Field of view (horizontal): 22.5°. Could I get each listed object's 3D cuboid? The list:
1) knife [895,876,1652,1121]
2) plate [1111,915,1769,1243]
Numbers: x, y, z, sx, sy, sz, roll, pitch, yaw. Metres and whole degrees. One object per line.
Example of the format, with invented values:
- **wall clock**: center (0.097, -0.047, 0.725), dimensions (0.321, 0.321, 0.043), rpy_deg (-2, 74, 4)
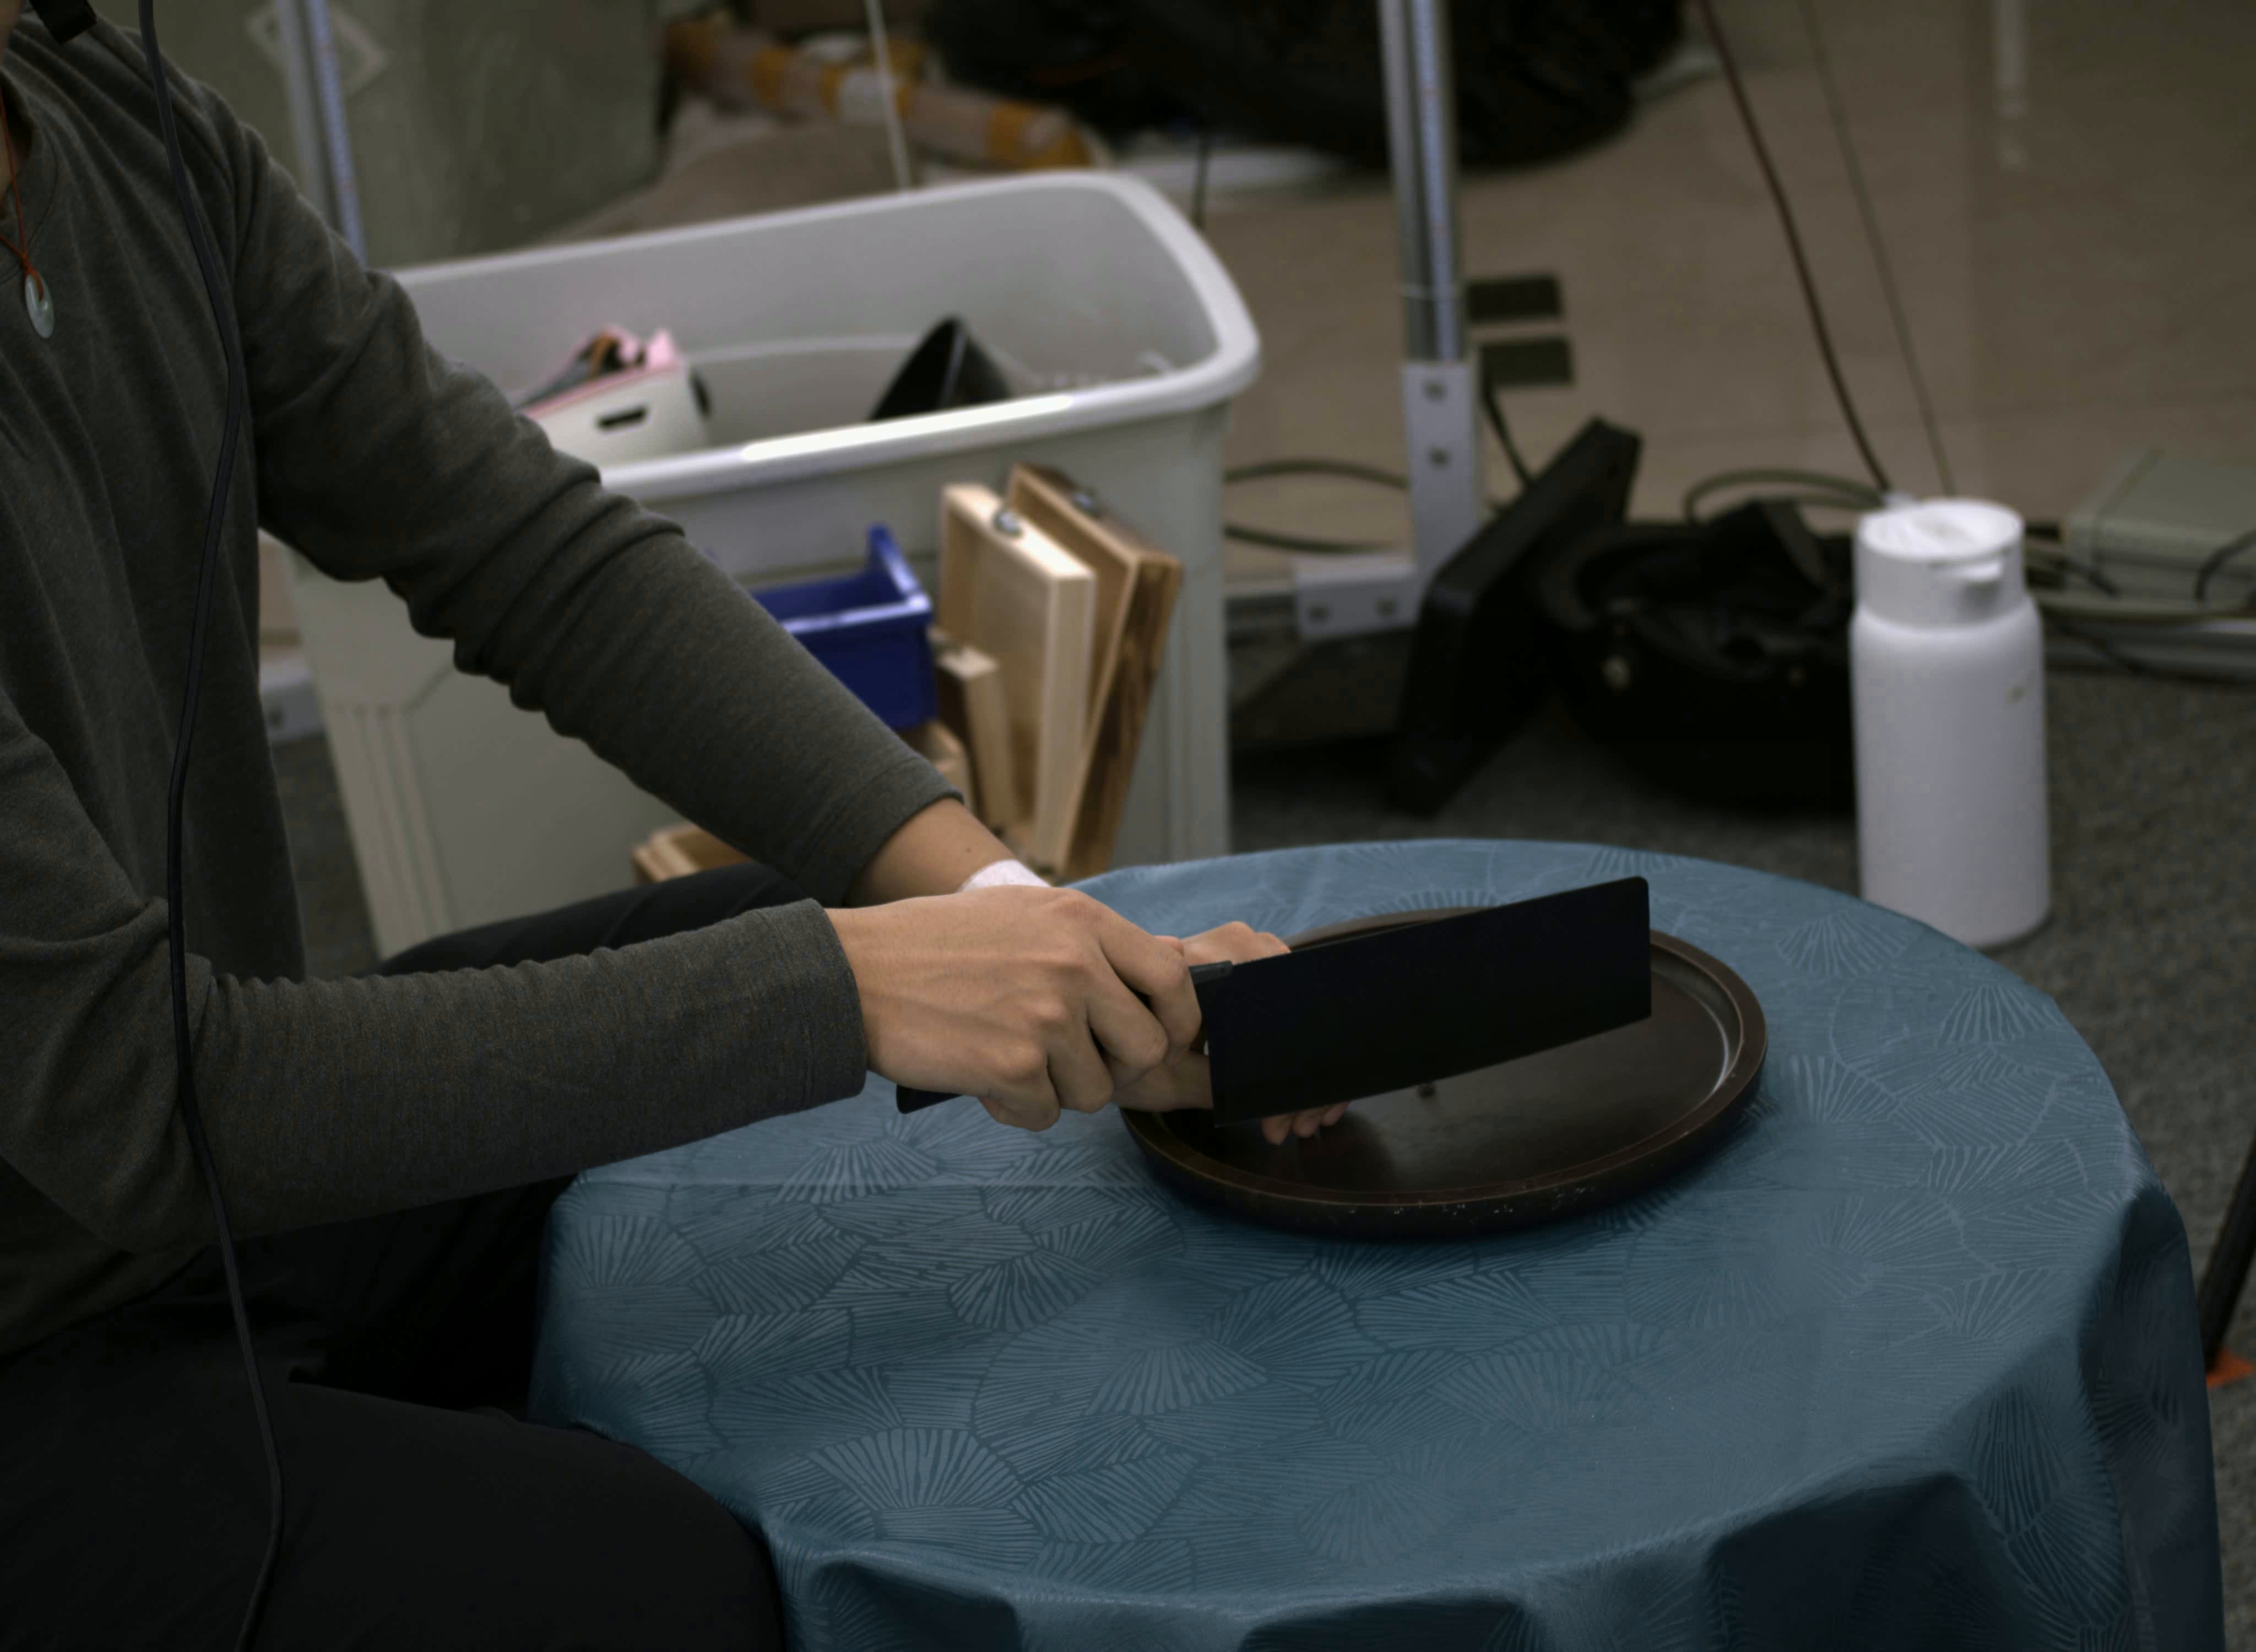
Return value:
- **knife**: center (0.058, 0.073, 2.115), dimensions (0.301, 0.082, 0.020), rpy_deg (-7, 24, -18)
- **plate**: center (0.120, 0.095, 2.189), dimensions (0.254, 0.029, 0.251), rpy_deg (-5, 26, 3)
